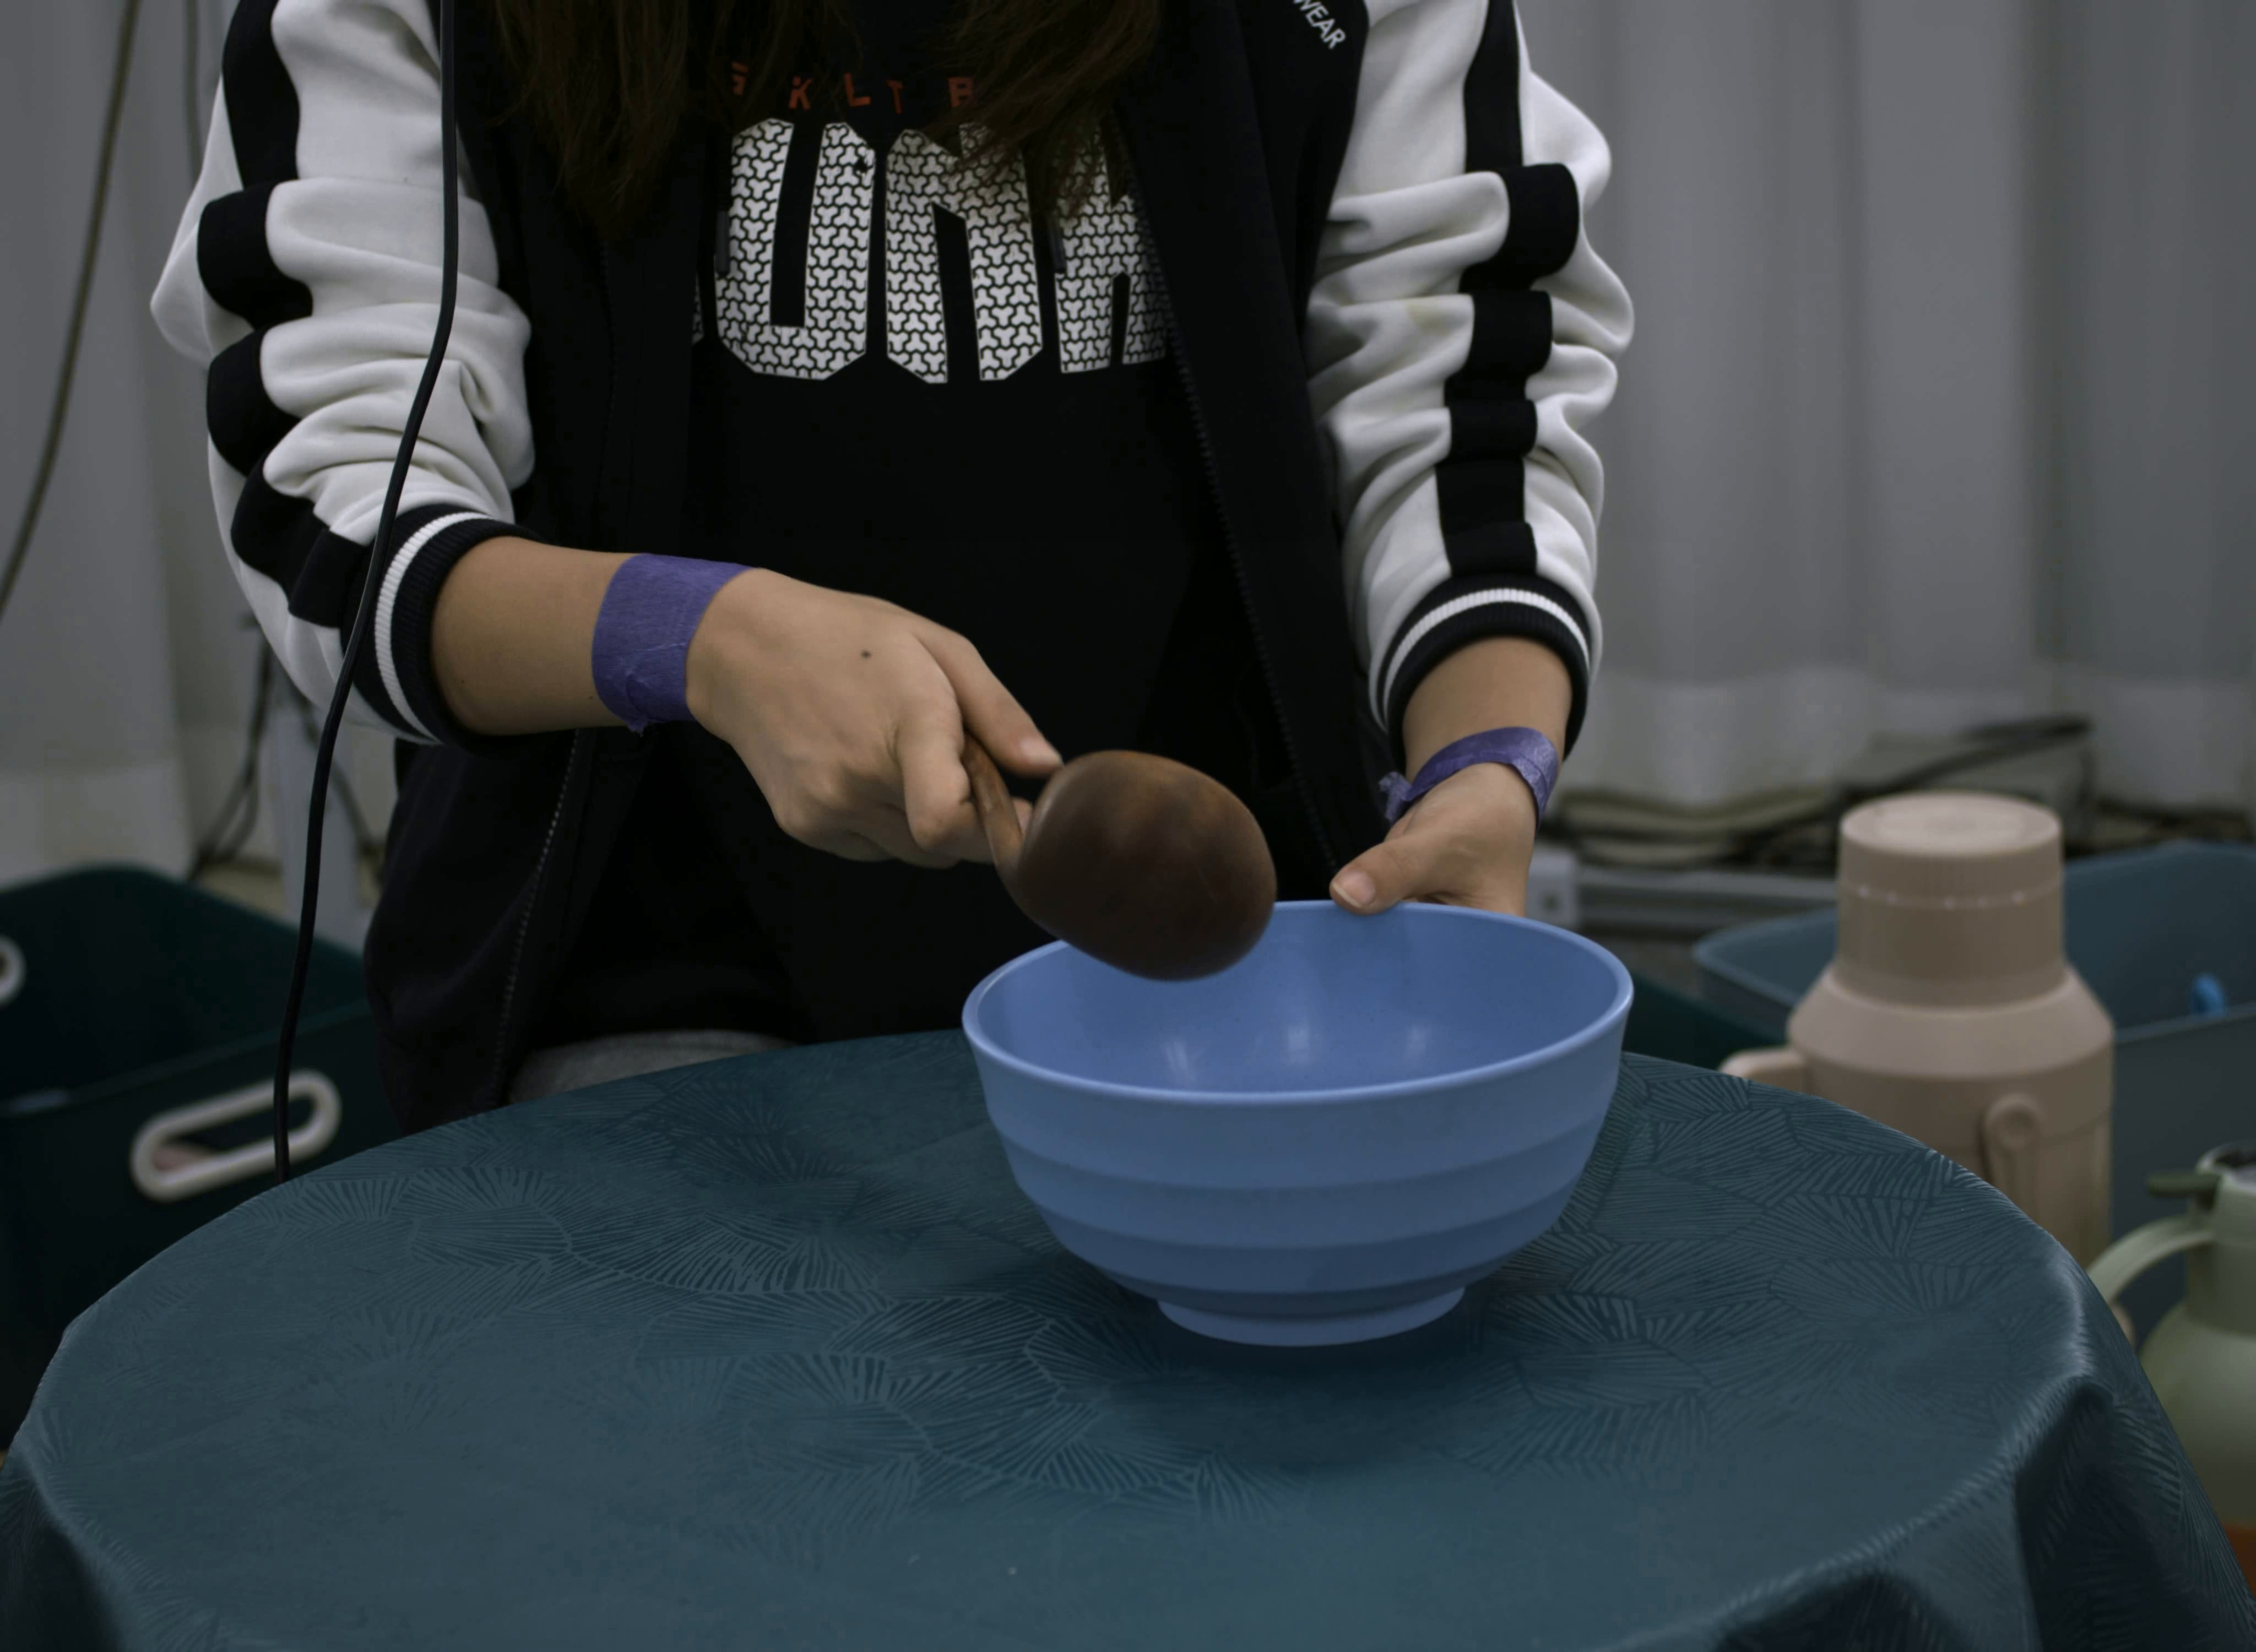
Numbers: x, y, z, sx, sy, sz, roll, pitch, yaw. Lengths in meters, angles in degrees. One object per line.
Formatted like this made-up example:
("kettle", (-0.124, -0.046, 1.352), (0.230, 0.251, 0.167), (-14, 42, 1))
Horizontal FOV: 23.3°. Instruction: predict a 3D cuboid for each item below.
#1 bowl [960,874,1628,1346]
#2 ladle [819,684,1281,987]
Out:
("bowl", (0.054, 0.091, 1.611), (0.196, 0.095, 0.198), (-7, 18, 2))
("ladle", (-0.027, -0.012, 1.644), (0.065, 0.076, 0.262), (-26, 22, -12))
